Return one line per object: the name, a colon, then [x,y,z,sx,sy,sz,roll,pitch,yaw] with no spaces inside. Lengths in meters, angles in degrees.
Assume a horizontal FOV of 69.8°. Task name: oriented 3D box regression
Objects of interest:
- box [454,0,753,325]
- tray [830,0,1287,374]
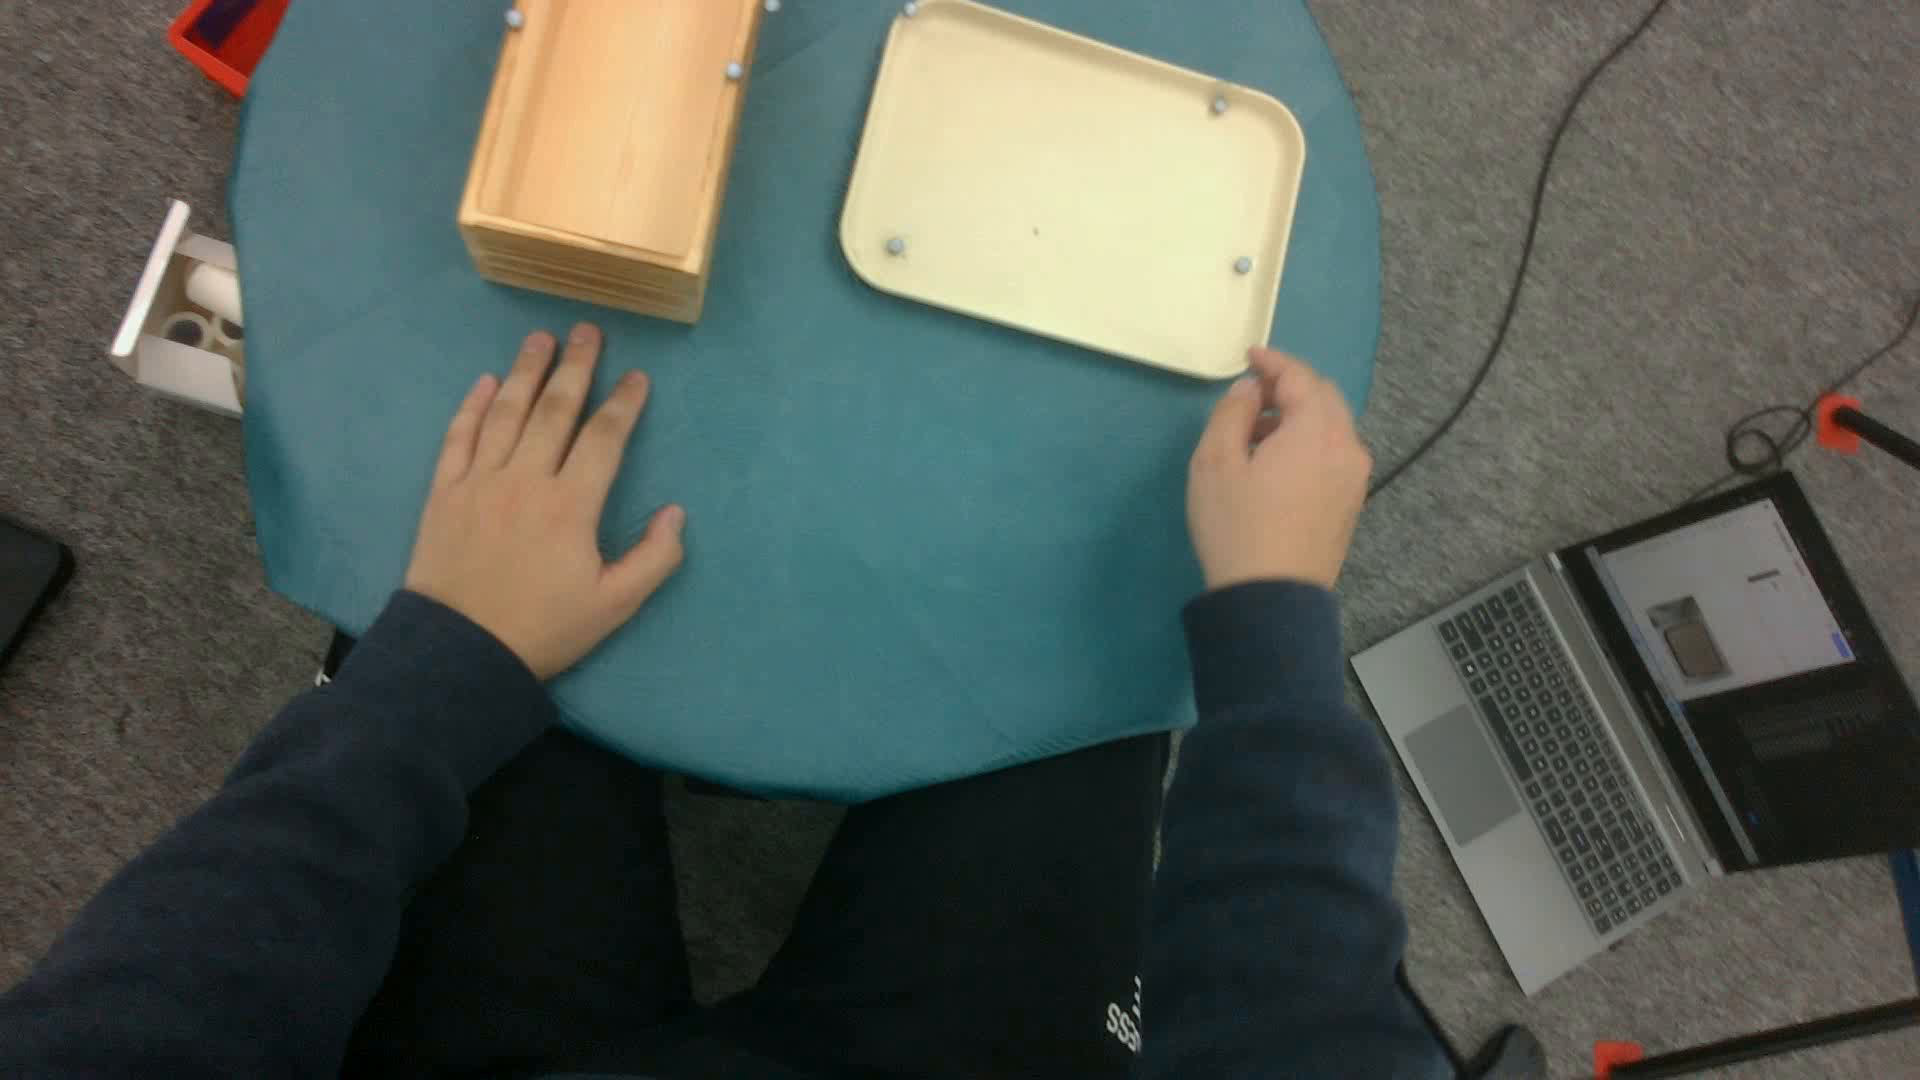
box: [-0.167,-0.226,0.680,0.107,0.080,0.212,10,80,-9]
tray: [0.057,-0.191,0.751,0.240,0.017,0.171,13,80,-9]
